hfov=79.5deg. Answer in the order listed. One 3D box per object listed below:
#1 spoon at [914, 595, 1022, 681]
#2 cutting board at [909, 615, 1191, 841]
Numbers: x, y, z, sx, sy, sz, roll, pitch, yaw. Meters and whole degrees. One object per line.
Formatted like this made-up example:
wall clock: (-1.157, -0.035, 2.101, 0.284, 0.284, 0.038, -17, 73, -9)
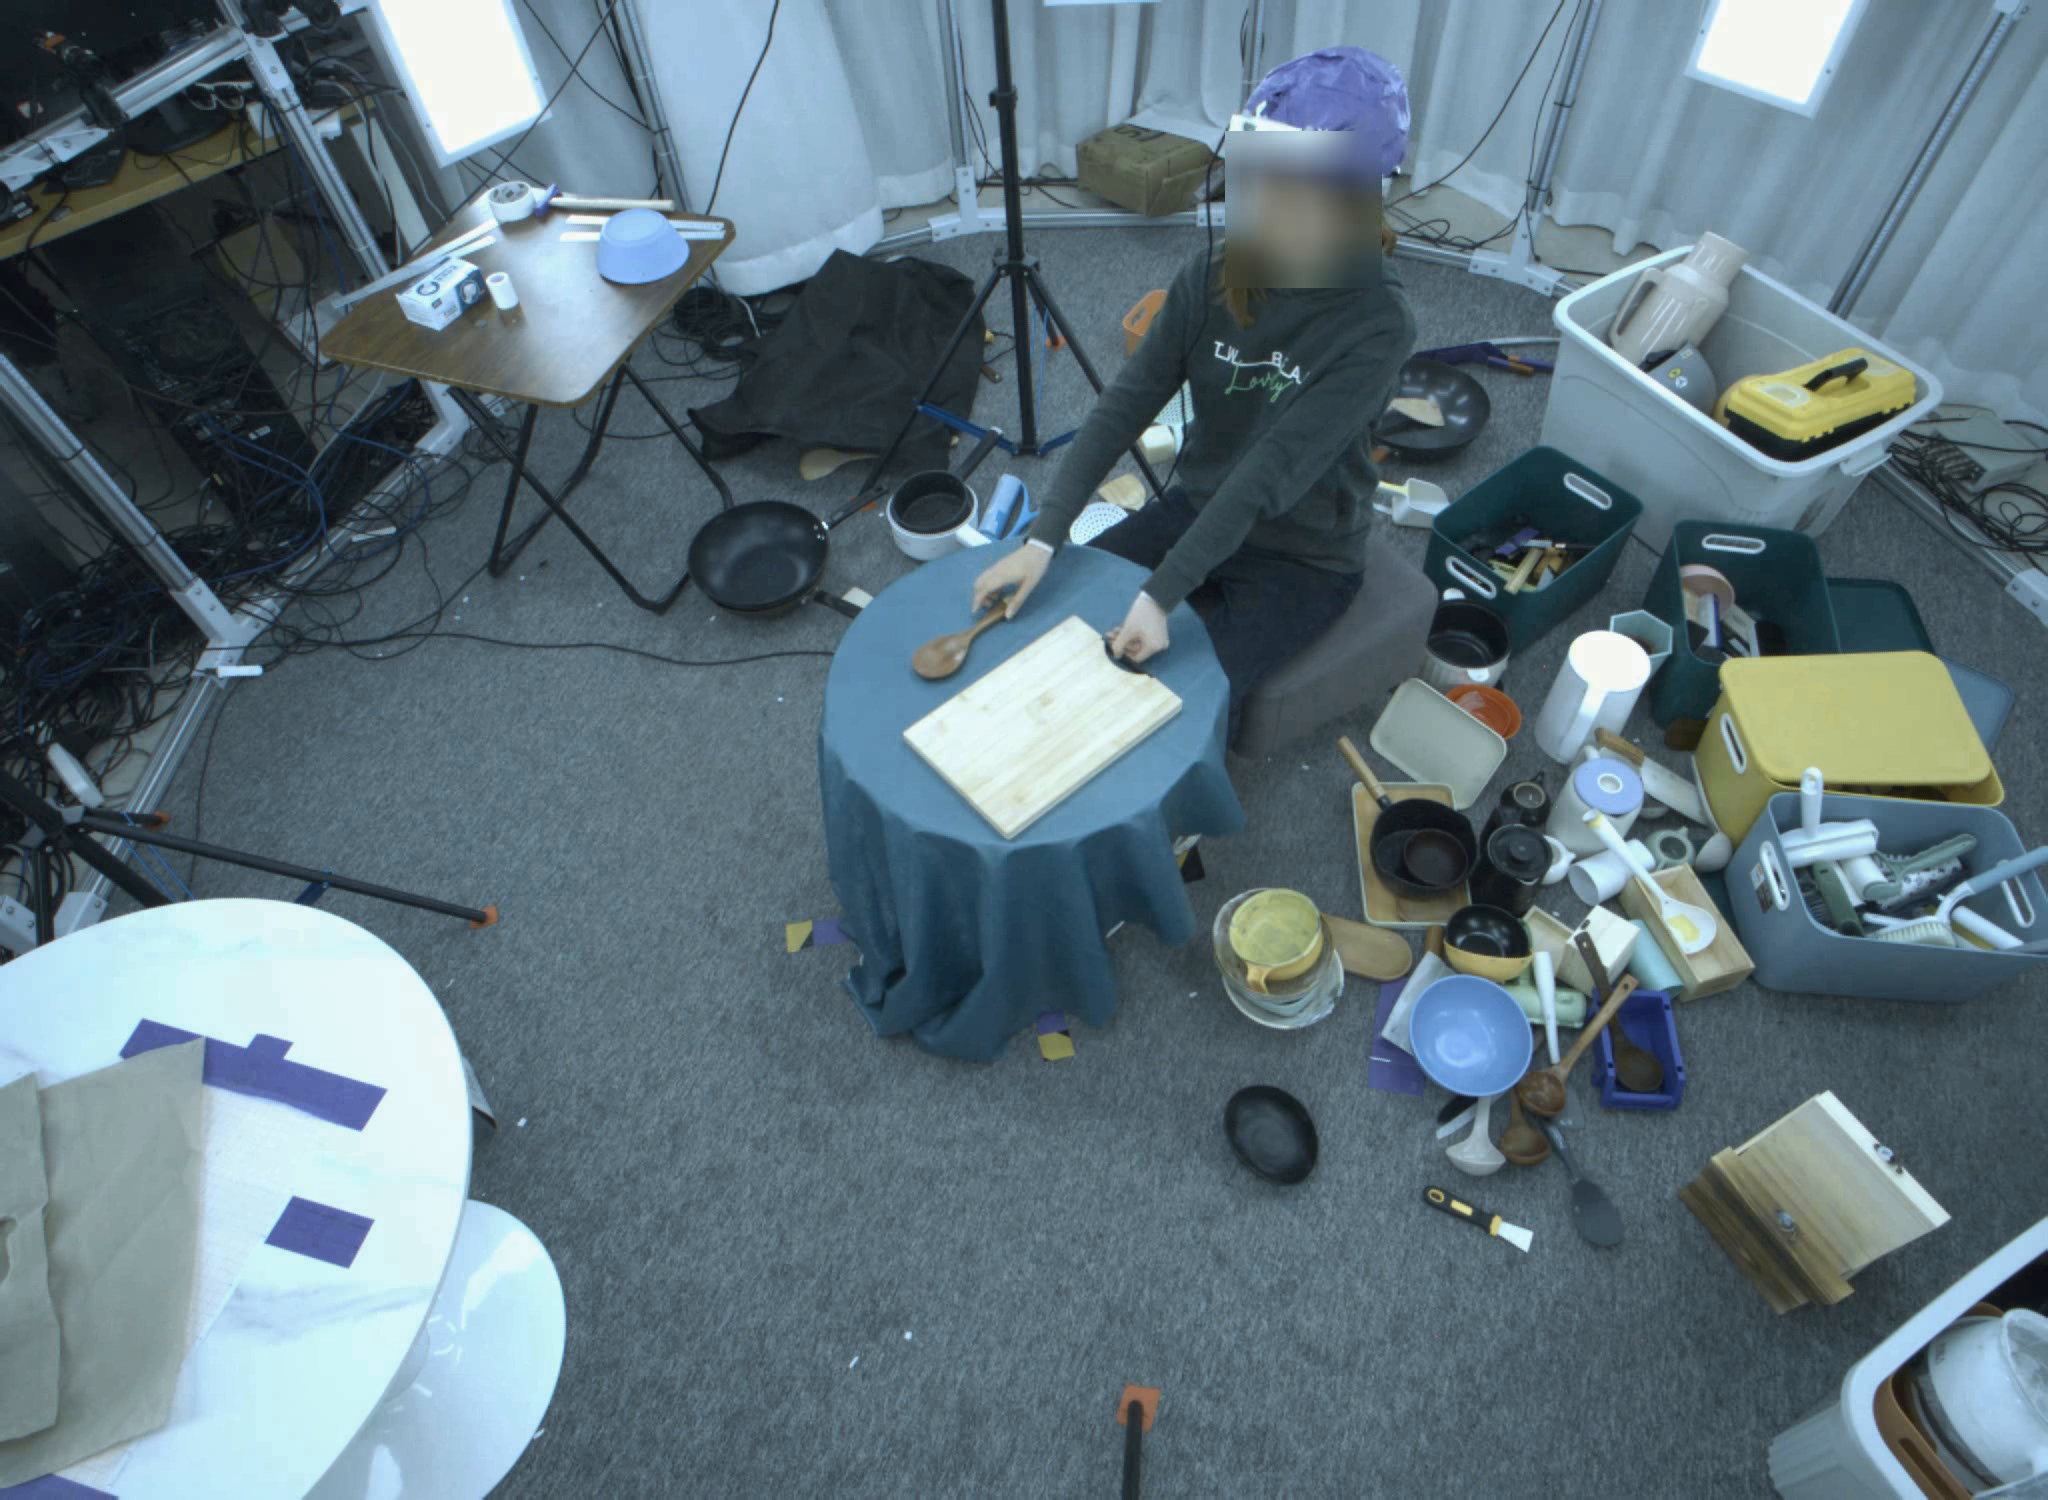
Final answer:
spoon: (-0.083, -0.175, 1.912, 0.074, 0.017, 0.217, 37, 64, 26)
cutting board: (0.037, -0.042, 1.816, 0.351, 0.024, 0.246, -37, 62, -22)
